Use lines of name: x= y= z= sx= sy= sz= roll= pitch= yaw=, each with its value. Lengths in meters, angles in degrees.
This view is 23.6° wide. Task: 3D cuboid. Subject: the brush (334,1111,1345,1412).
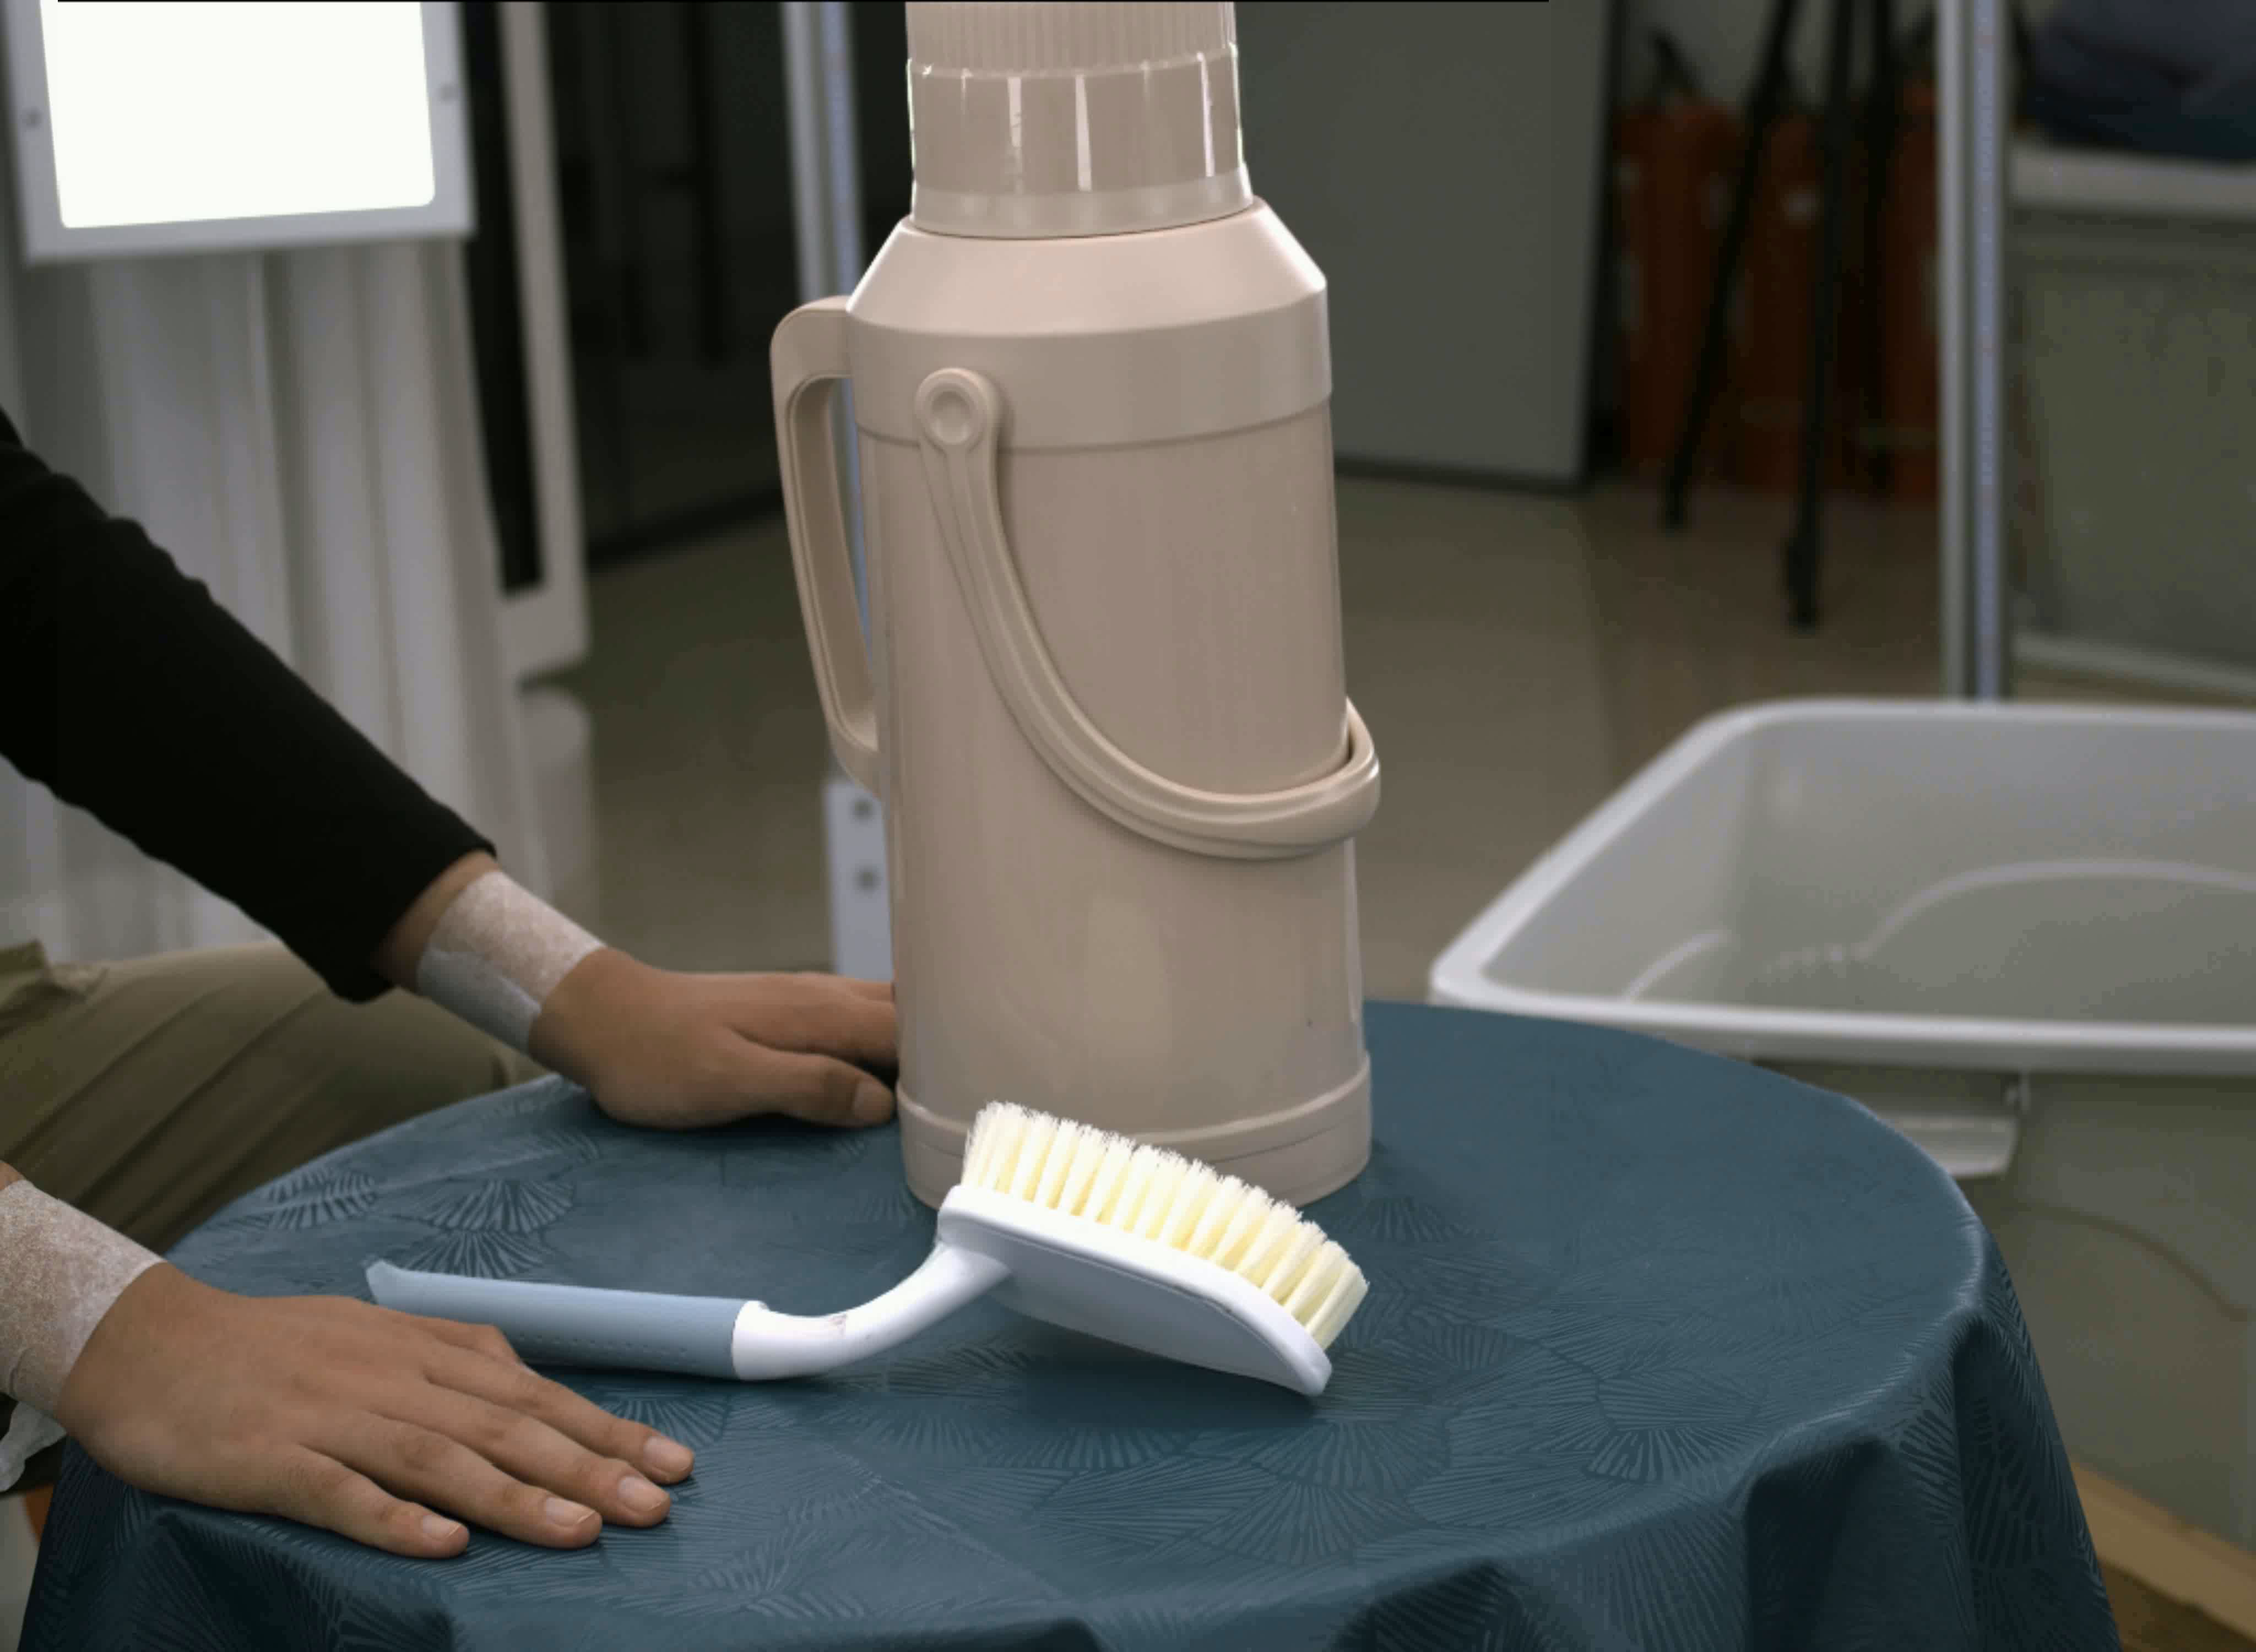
brush: x=-0.088 y=0.123 z=1.624 sx=0.325 sy=0.084 sz=0.084 roll=3 pitch=19 yaw=22

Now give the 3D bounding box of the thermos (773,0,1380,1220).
thermos: x=-0.019 y=-0.082 z=1.765 sx=0.208 sy=0.410 sz=0.173 roll=4 pitch=17 yaw=30
